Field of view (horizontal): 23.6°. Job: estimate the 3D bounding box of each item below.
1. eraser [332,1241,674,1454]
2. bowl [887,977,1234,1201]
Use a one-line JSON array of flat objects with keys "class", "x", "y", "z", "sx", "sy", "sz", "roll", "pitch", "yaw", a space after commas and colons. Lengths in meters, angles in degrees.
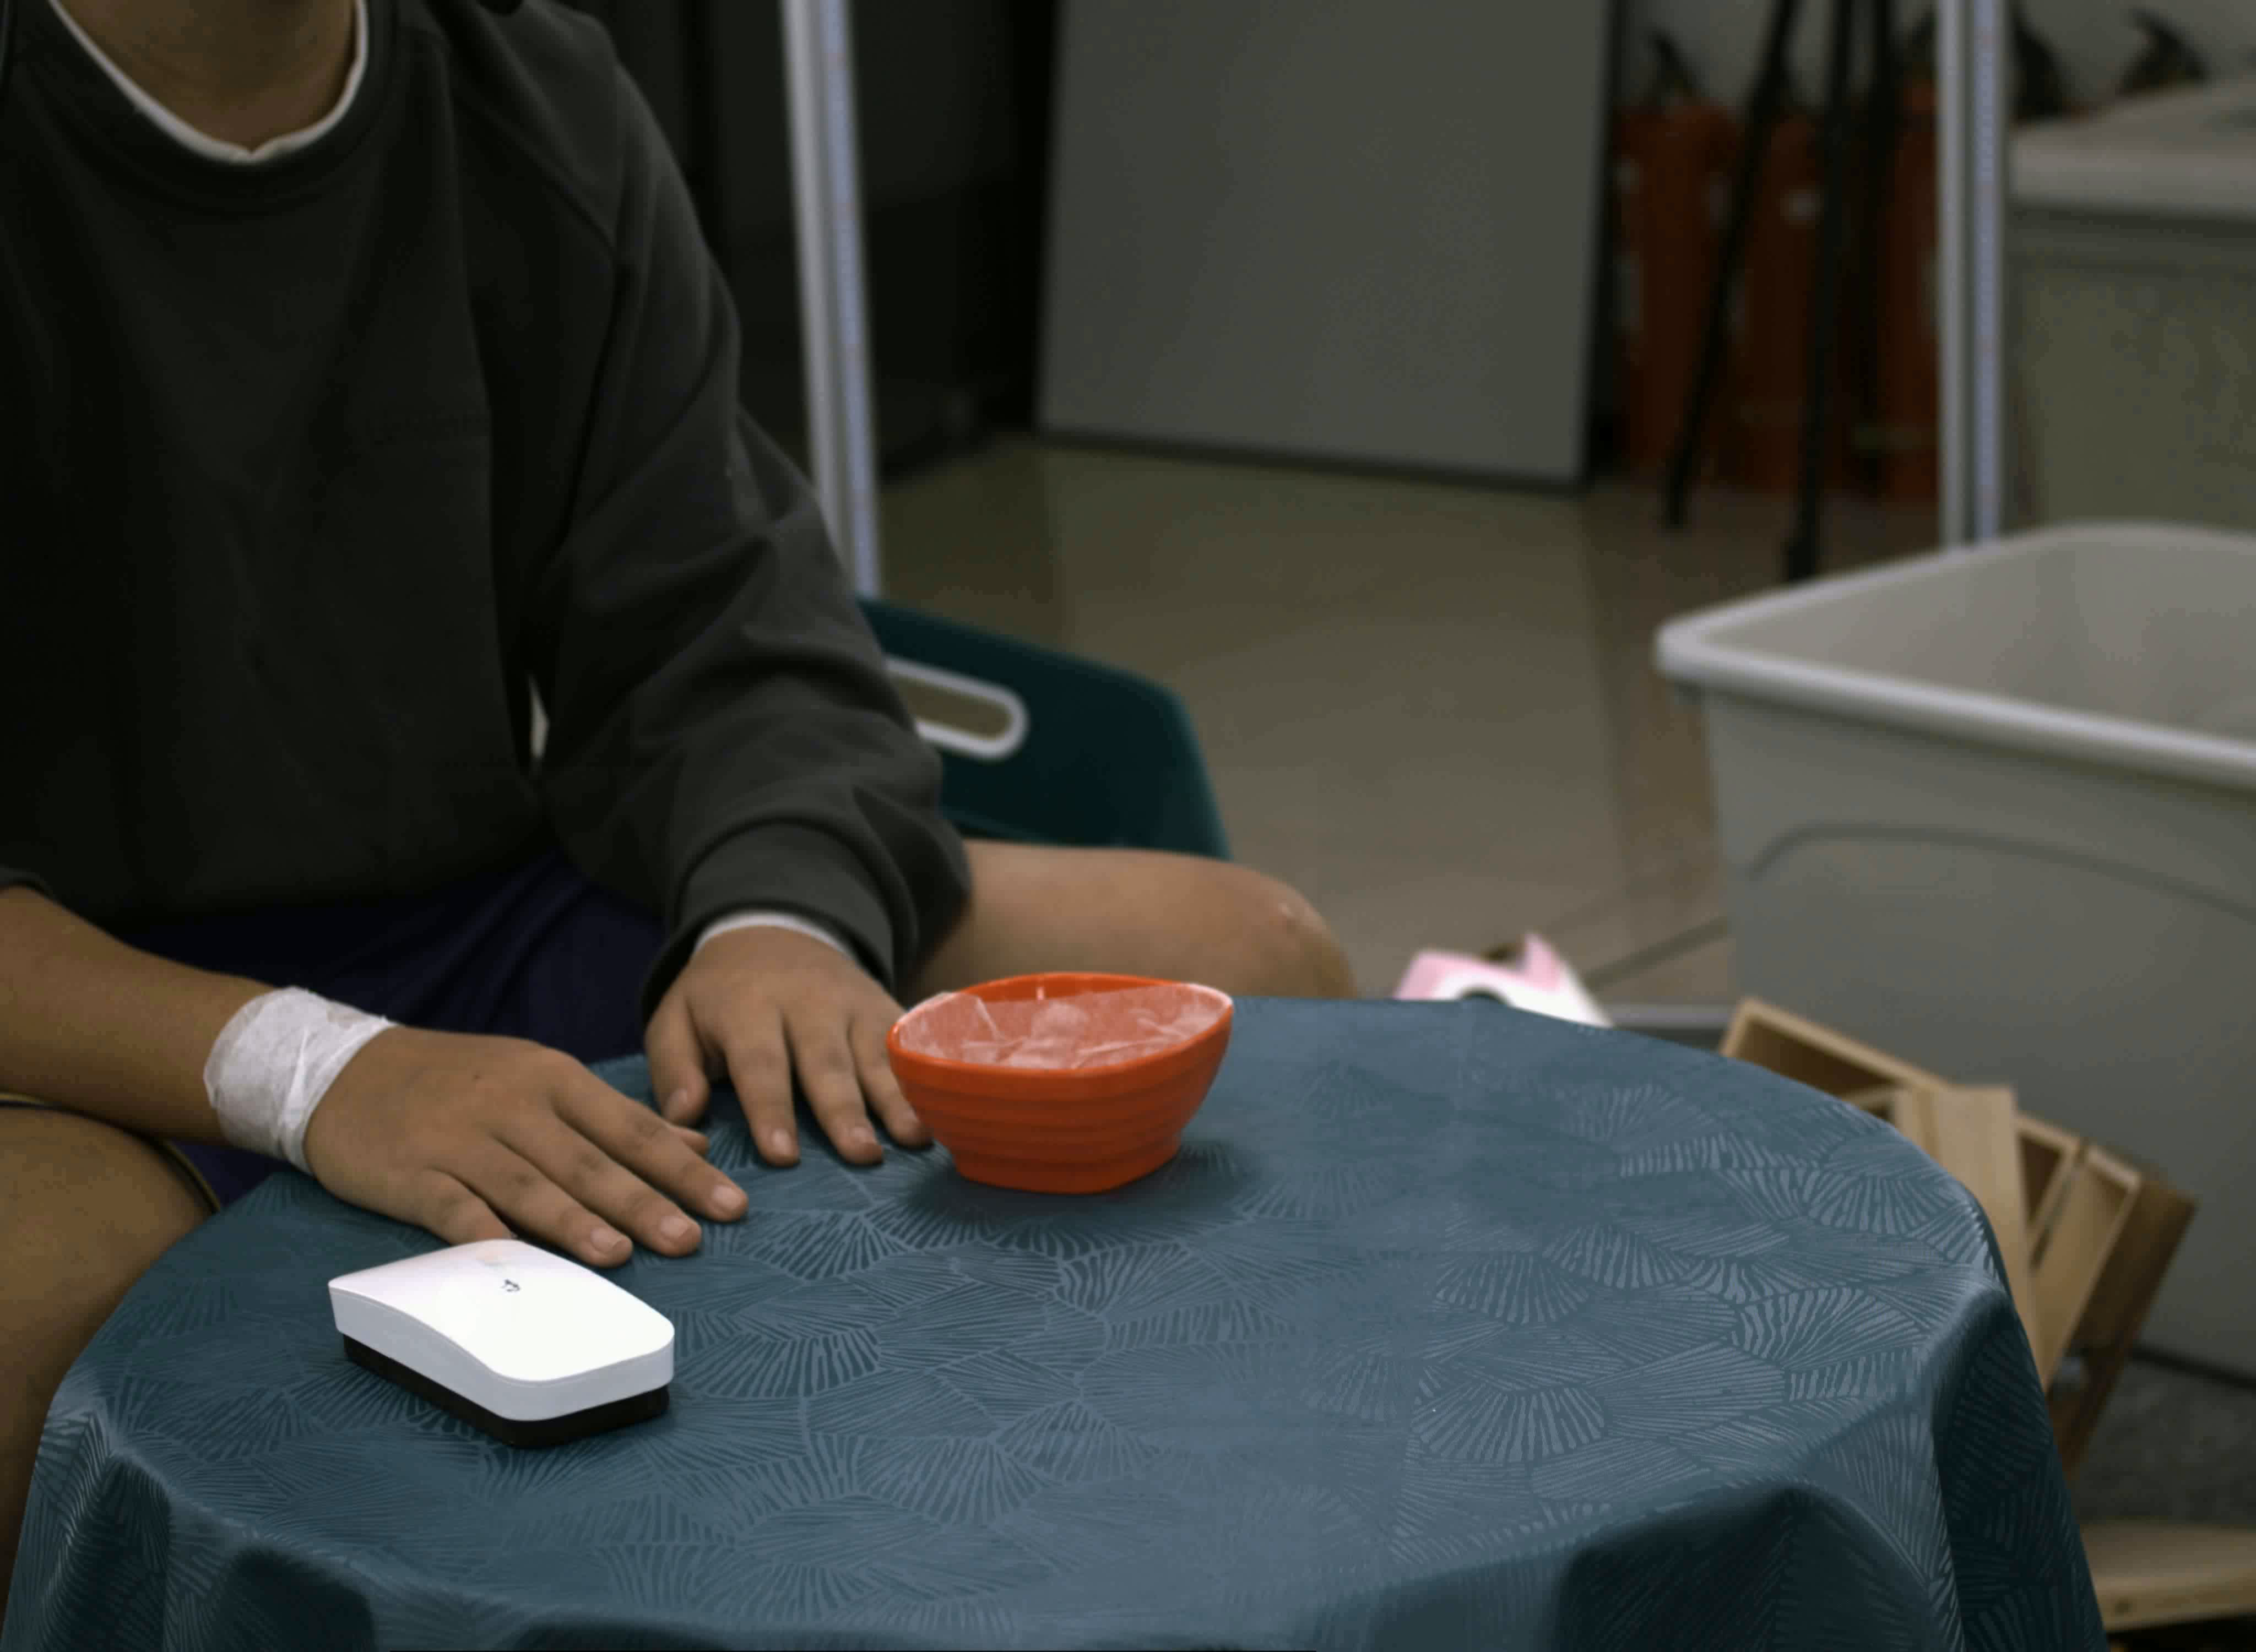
[{"class": "eraser", "x": -0.187, "y": 0.152, "z": 1.626, "sx": 0.062, "sy": 0.035, "sz": 0.133, "roll": -11, "pitch": 17, "yaw": -31}, {"class": "bowl", "x": -0.021, "y": 0.090, "z": 1.798, "sx": 0.117, "sy": 0.052, "sz": 0.119, "roll": -5, "pitch": 14, "yaw": 0}]
